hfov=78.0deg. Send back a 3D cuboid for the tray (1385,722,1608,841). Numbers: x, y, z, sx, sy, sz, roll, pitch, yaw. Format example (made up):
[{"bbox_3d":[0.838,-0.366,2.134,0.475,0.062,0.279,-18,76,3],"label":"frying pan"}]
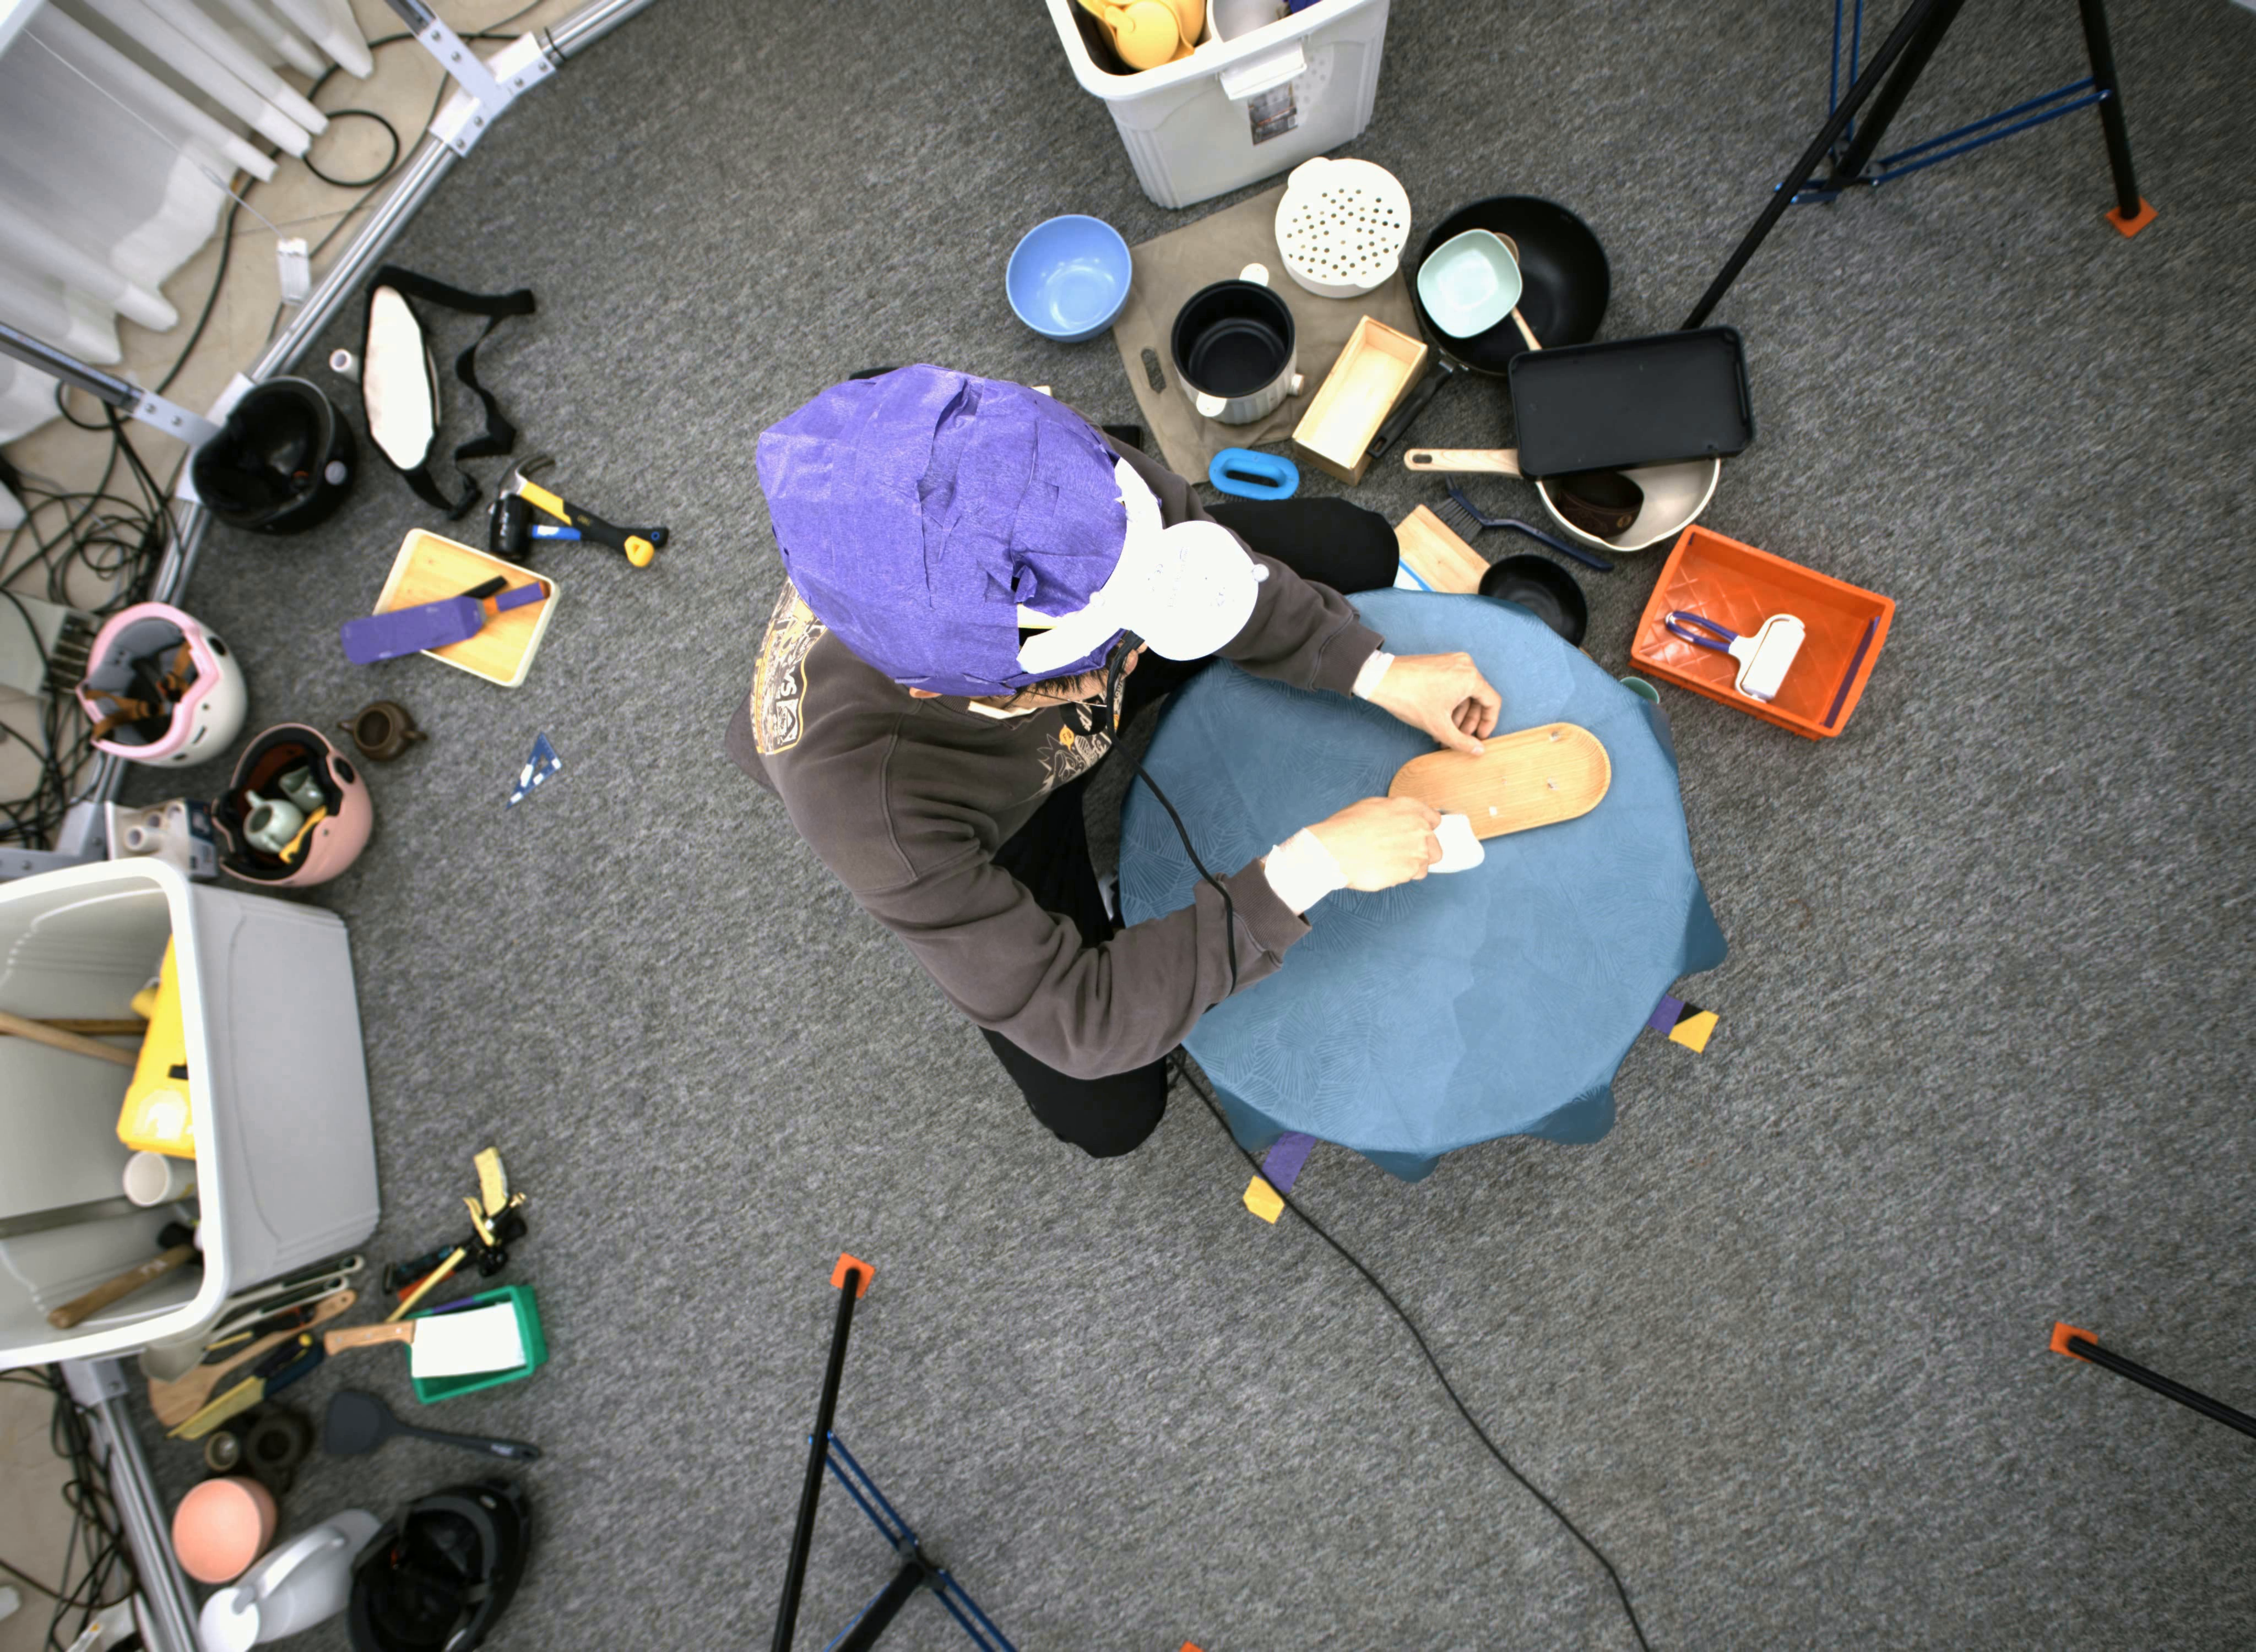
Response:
[{"bbox_3d":[0.383,-0.043,1.433,0.232,0.020,0.101,-15,84,11],"label":"tray"}]

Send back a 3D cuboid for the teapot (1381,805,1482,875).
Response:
[{"bbox_3d":[0.292,0.012,1.325,0.096,0.135,0.062,7,98,25],"label":"teapot"}]
